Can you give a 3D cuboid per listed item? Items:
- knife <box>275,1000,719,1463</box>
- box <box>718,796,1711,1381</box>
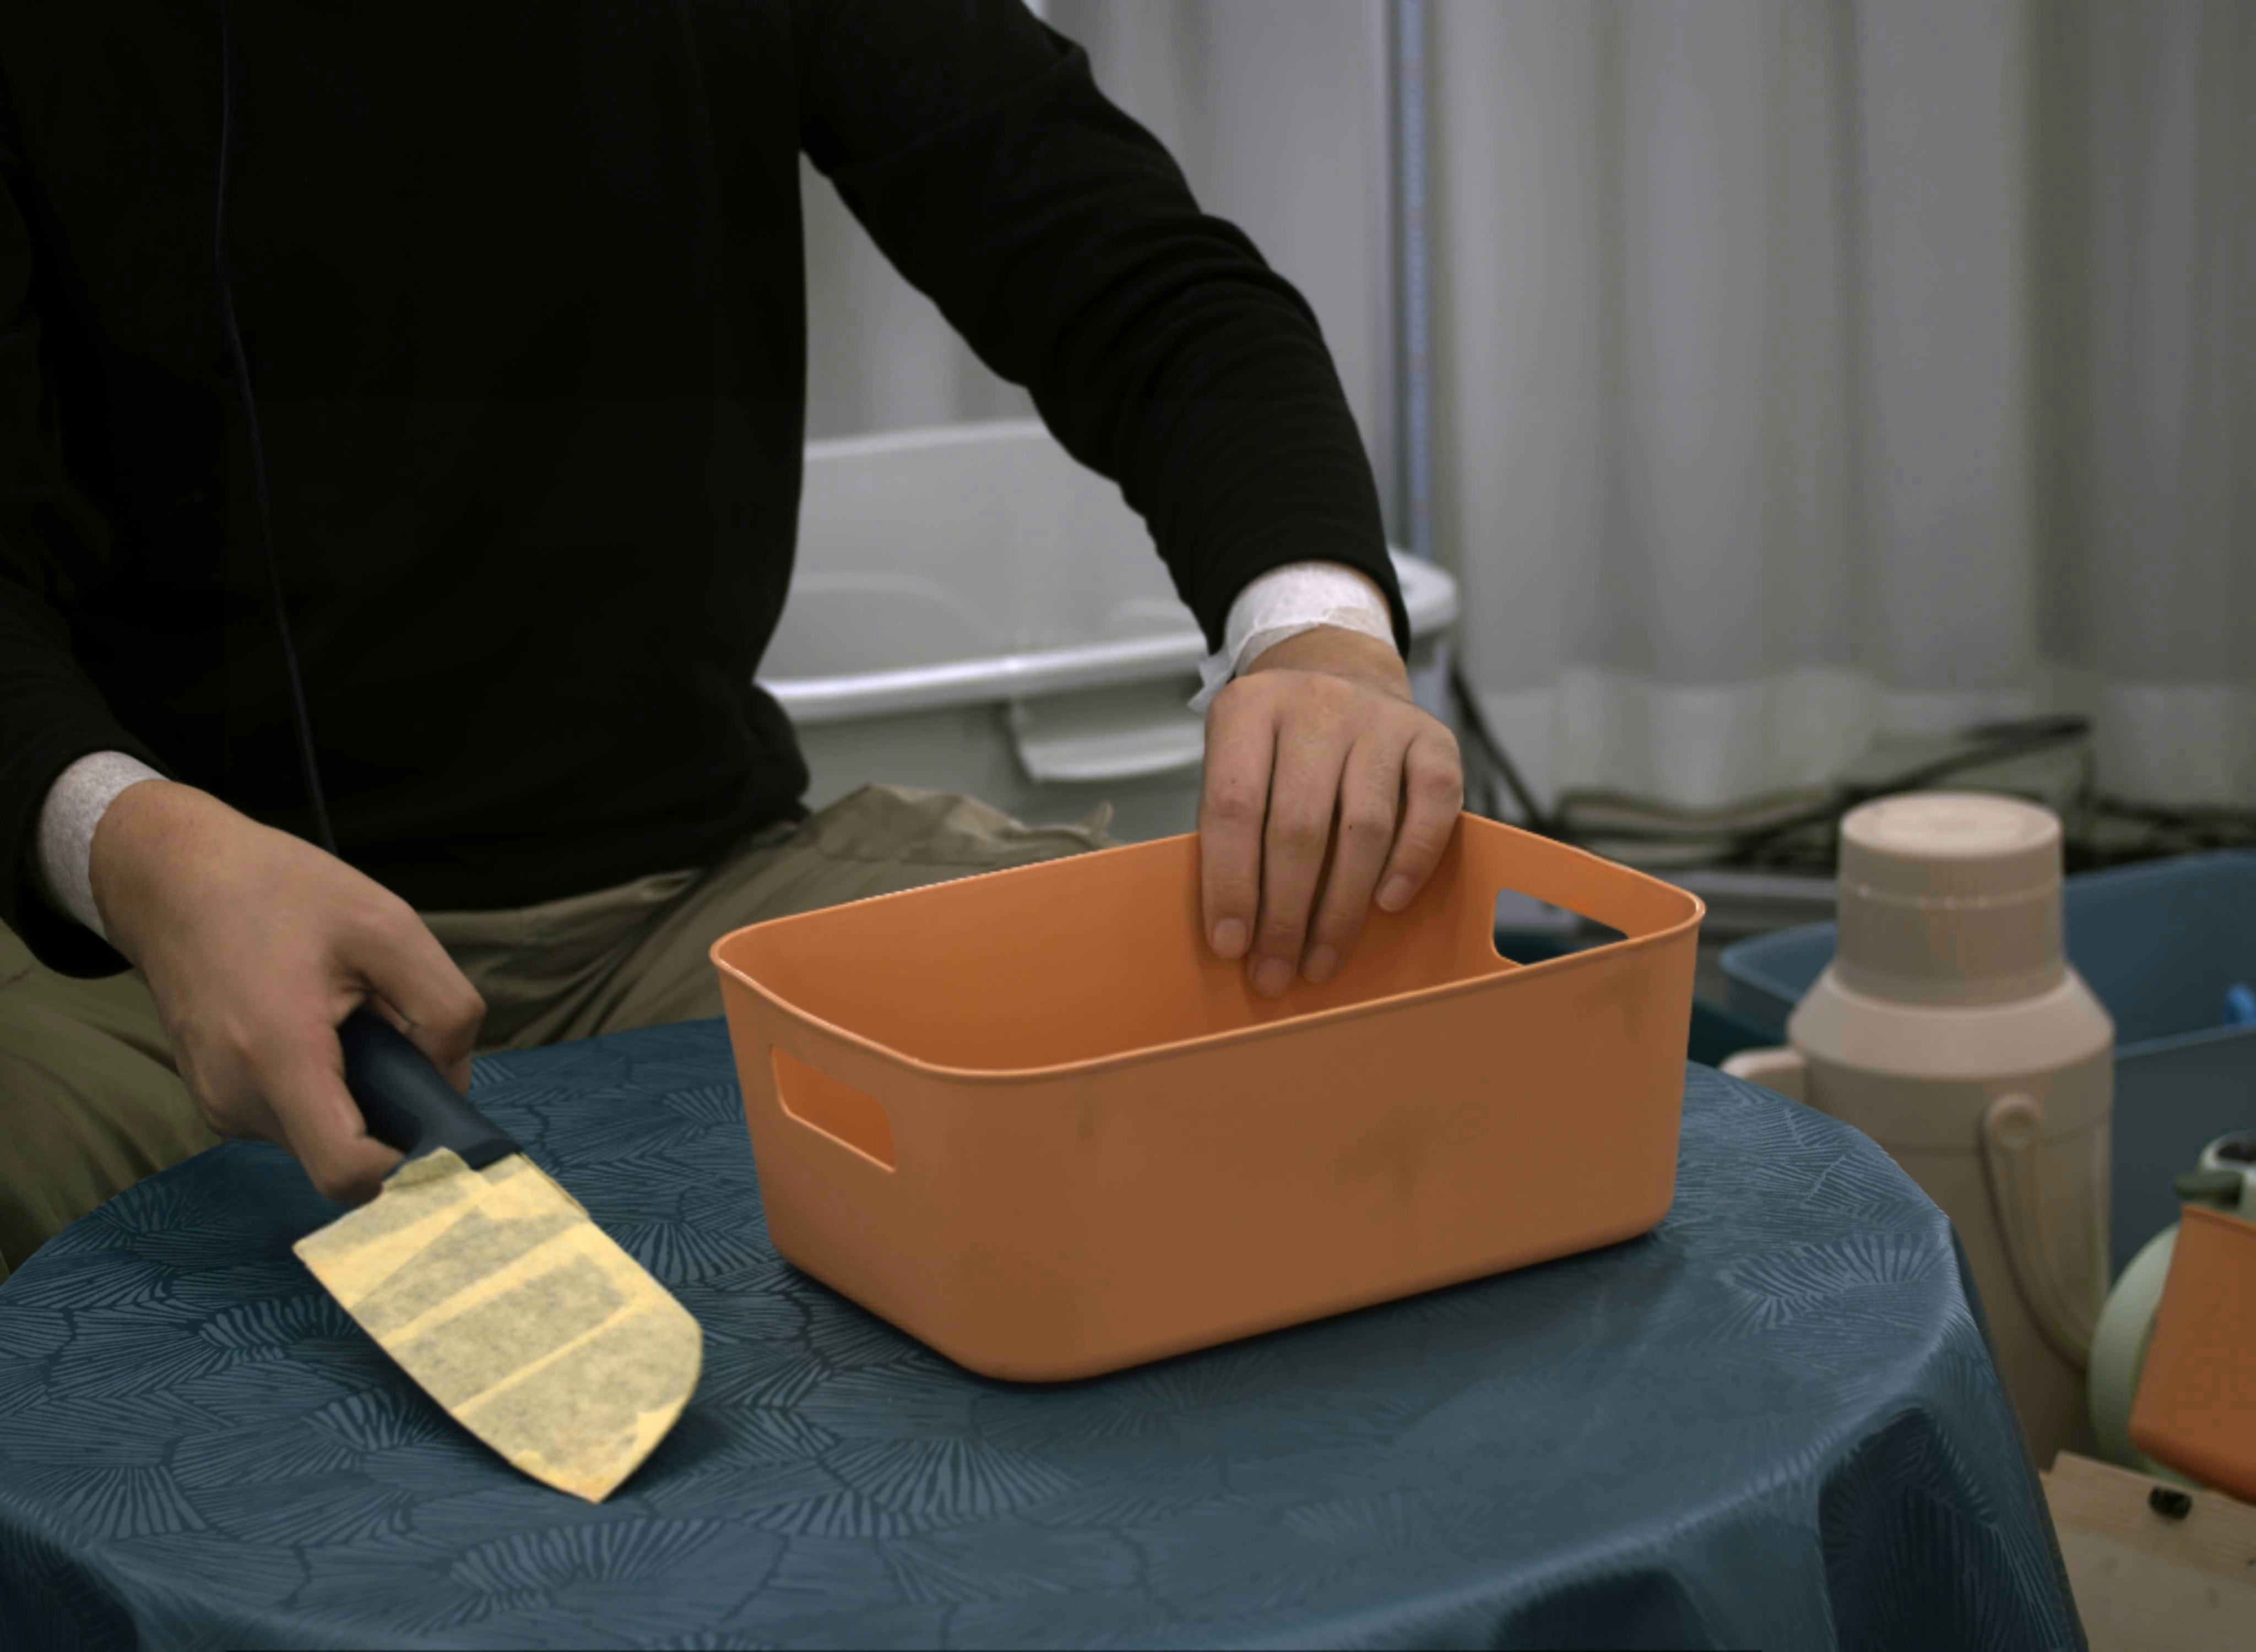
[{"bbox_3d":[-0.199,0.118,1.605,0.081,0.027,0.293,-22,31,-21],"label":"knife"},{"bbox_3d":[0.026,0.076,1.653,0.272,0.102,0.201,-11,17,-28],"label":"box"}]
